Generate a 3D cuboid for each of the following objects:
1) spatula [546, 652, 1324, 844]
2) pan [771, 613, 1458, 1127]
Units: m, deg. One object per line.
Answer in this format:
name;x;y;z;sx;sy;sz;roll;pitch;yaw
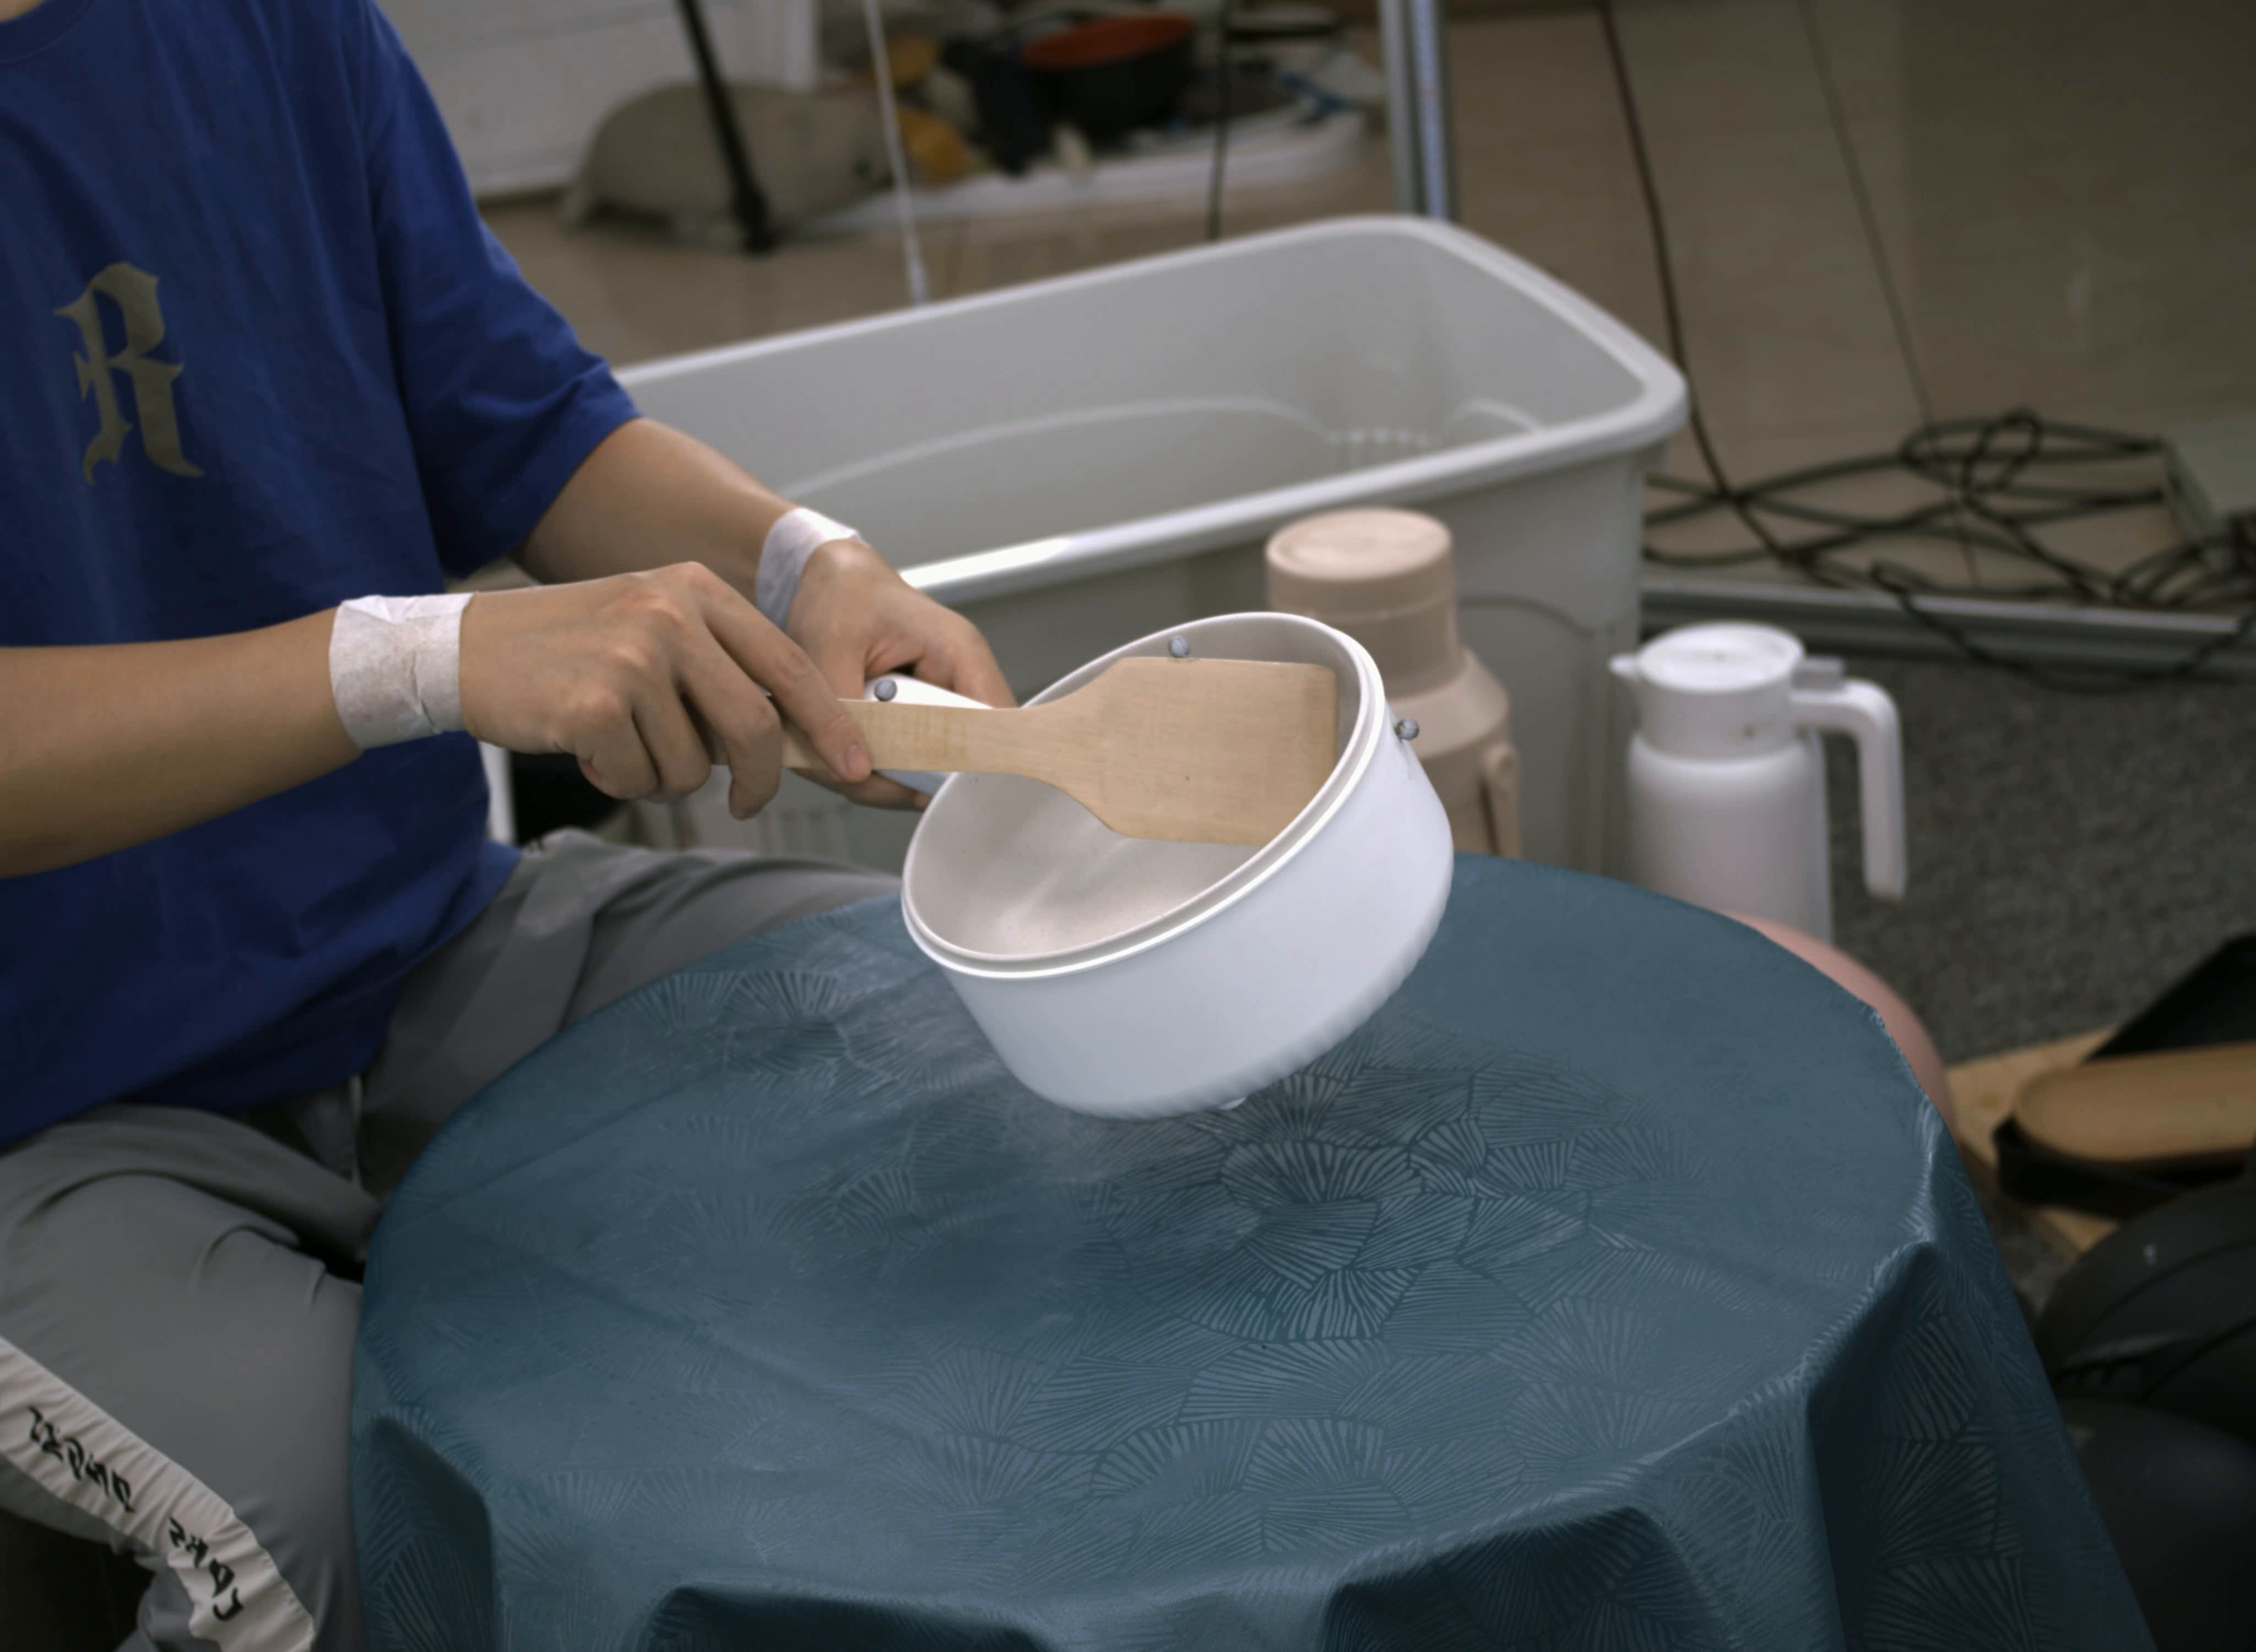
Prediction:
spatula;-0.071;-0.034;2.122;0.292;0.073;0.010;2;8;-5
pan;-0.017;0.006;2.204;0.200;0.103;0.352;-45;33;-17
